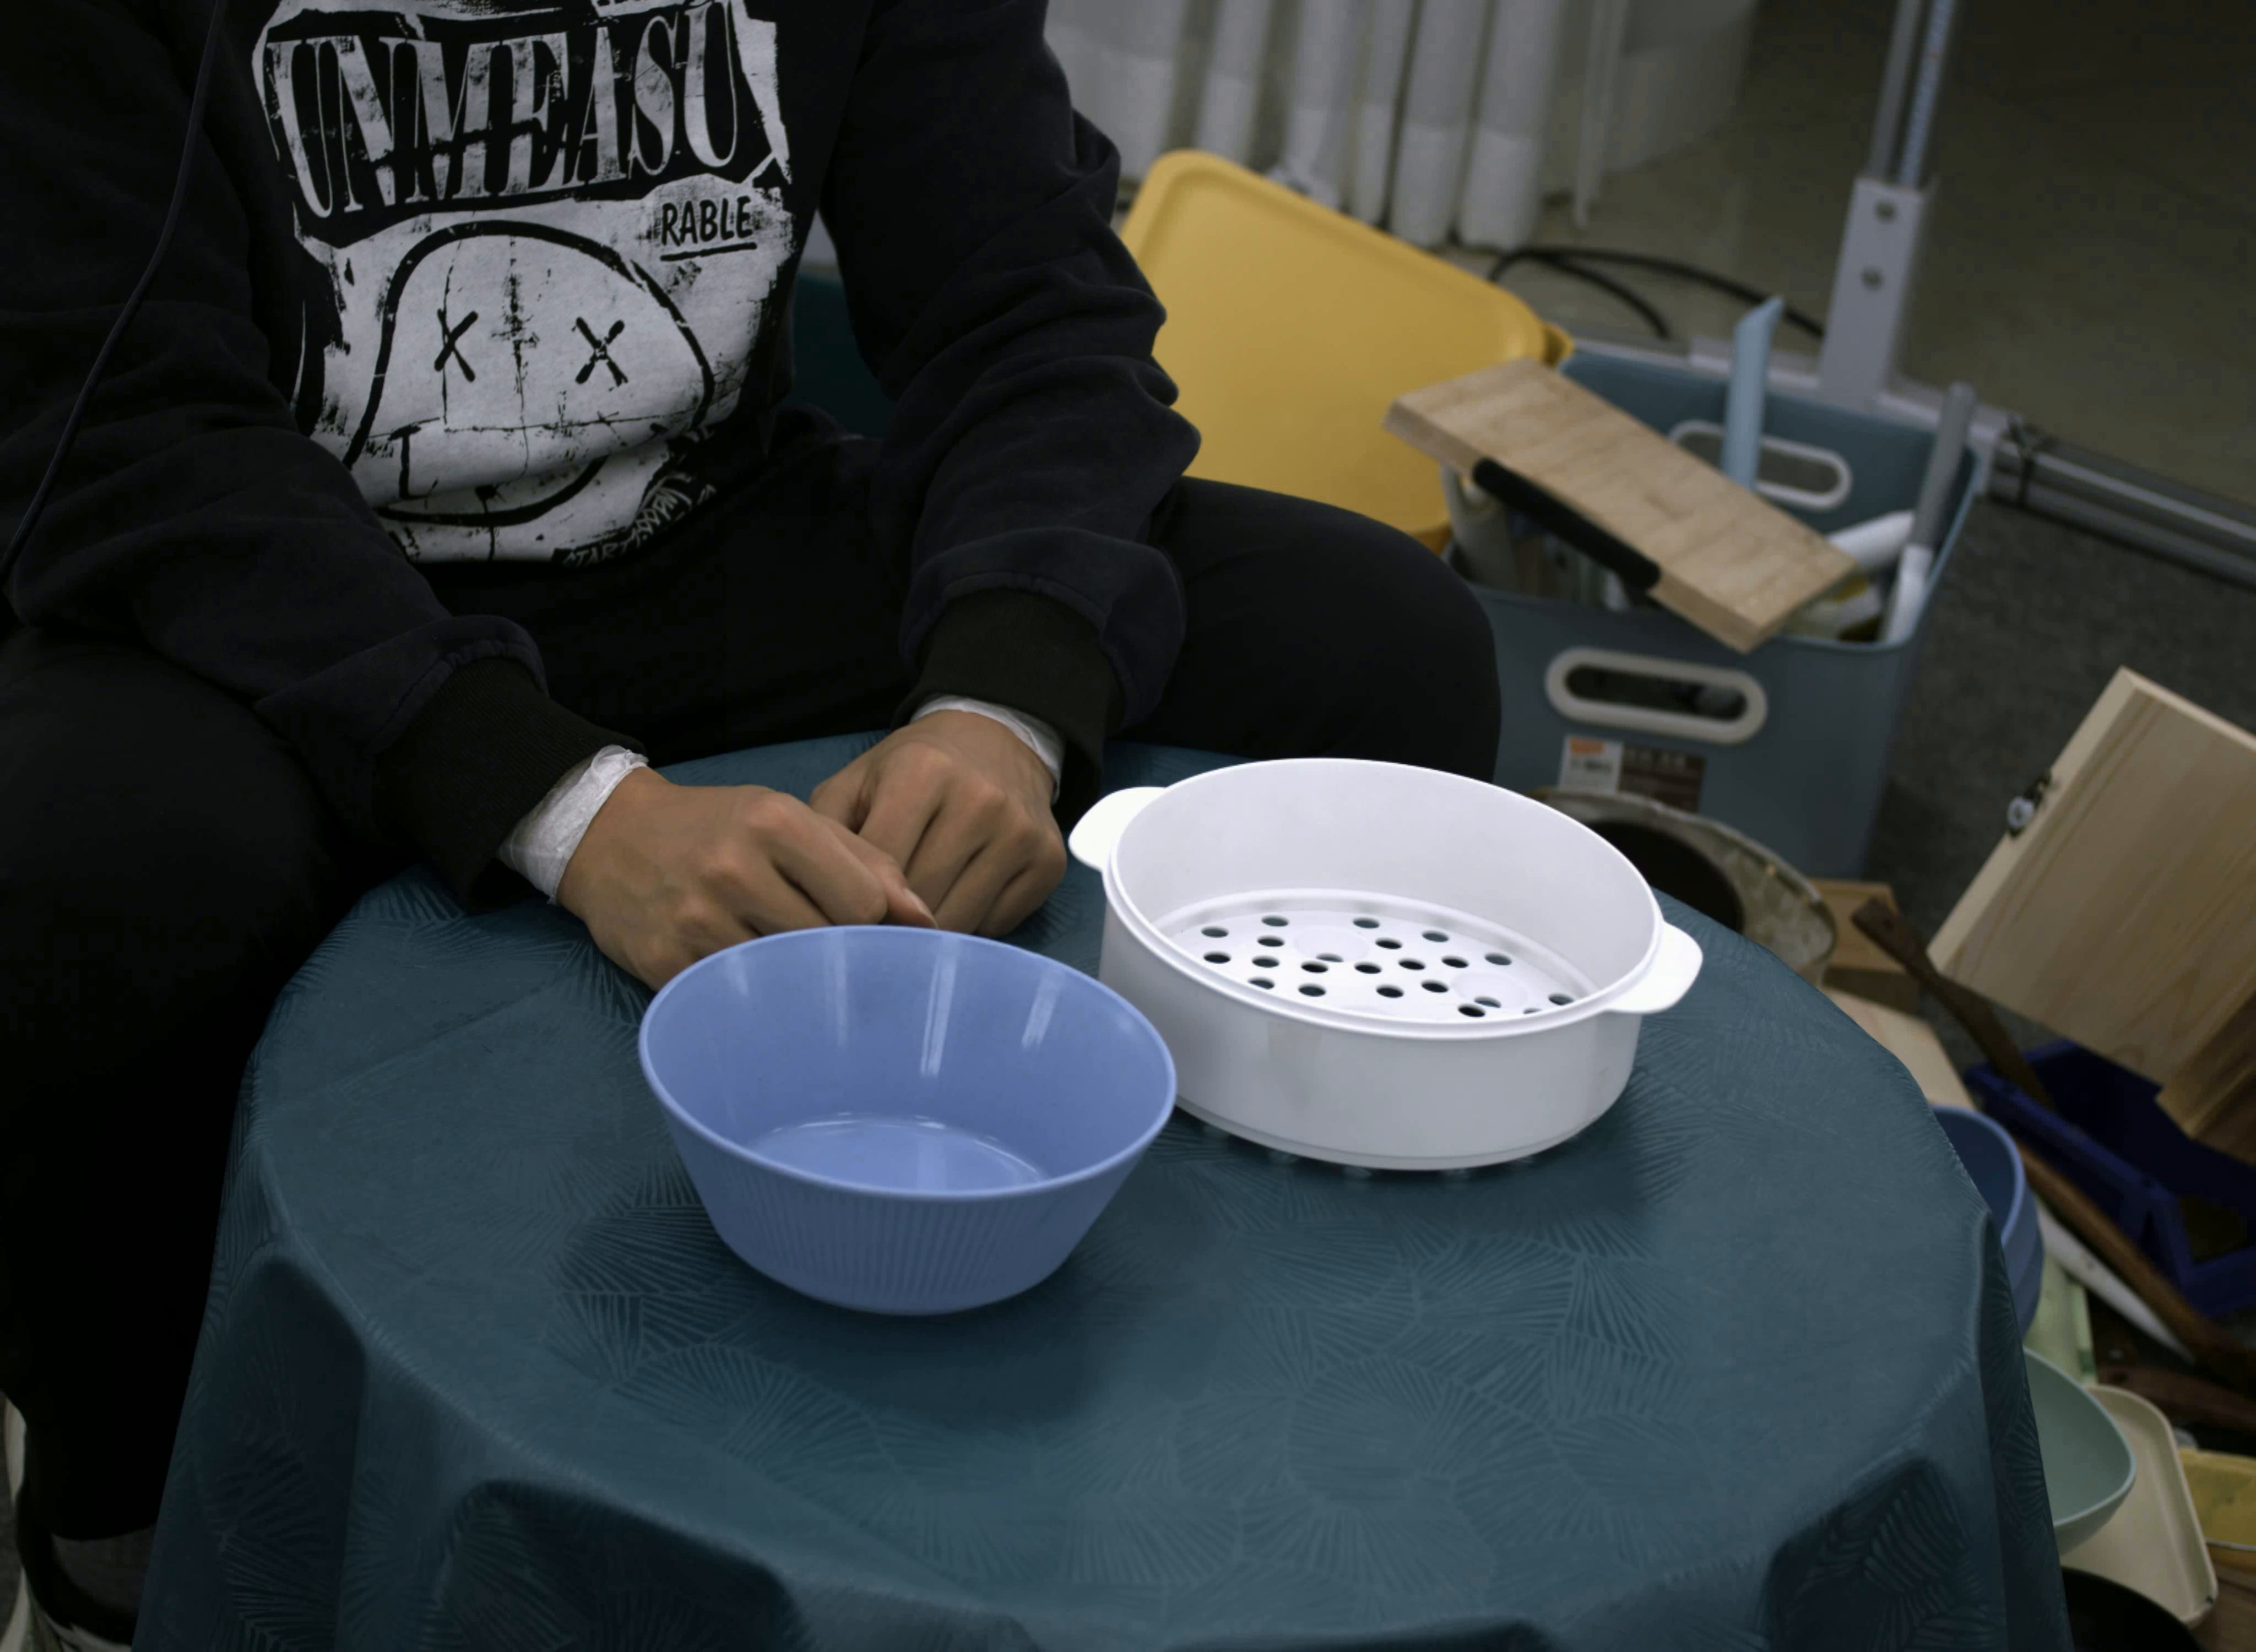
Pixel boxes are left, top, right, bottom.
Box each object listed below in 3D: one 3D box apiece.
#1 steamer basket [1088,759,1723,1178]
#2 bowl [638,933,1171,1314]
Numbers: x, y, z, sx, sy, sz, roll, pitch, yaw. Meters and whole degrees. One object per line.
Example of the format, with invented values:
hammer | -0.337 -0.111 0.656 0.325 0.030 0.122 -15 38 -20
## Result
steamer basket | 0.093 0.051 1.890 0.231 0.069 0.202 17 28 15
bowl | -0.076 0.103 1.745 0.175 0.070 0.177 6 26 -3
